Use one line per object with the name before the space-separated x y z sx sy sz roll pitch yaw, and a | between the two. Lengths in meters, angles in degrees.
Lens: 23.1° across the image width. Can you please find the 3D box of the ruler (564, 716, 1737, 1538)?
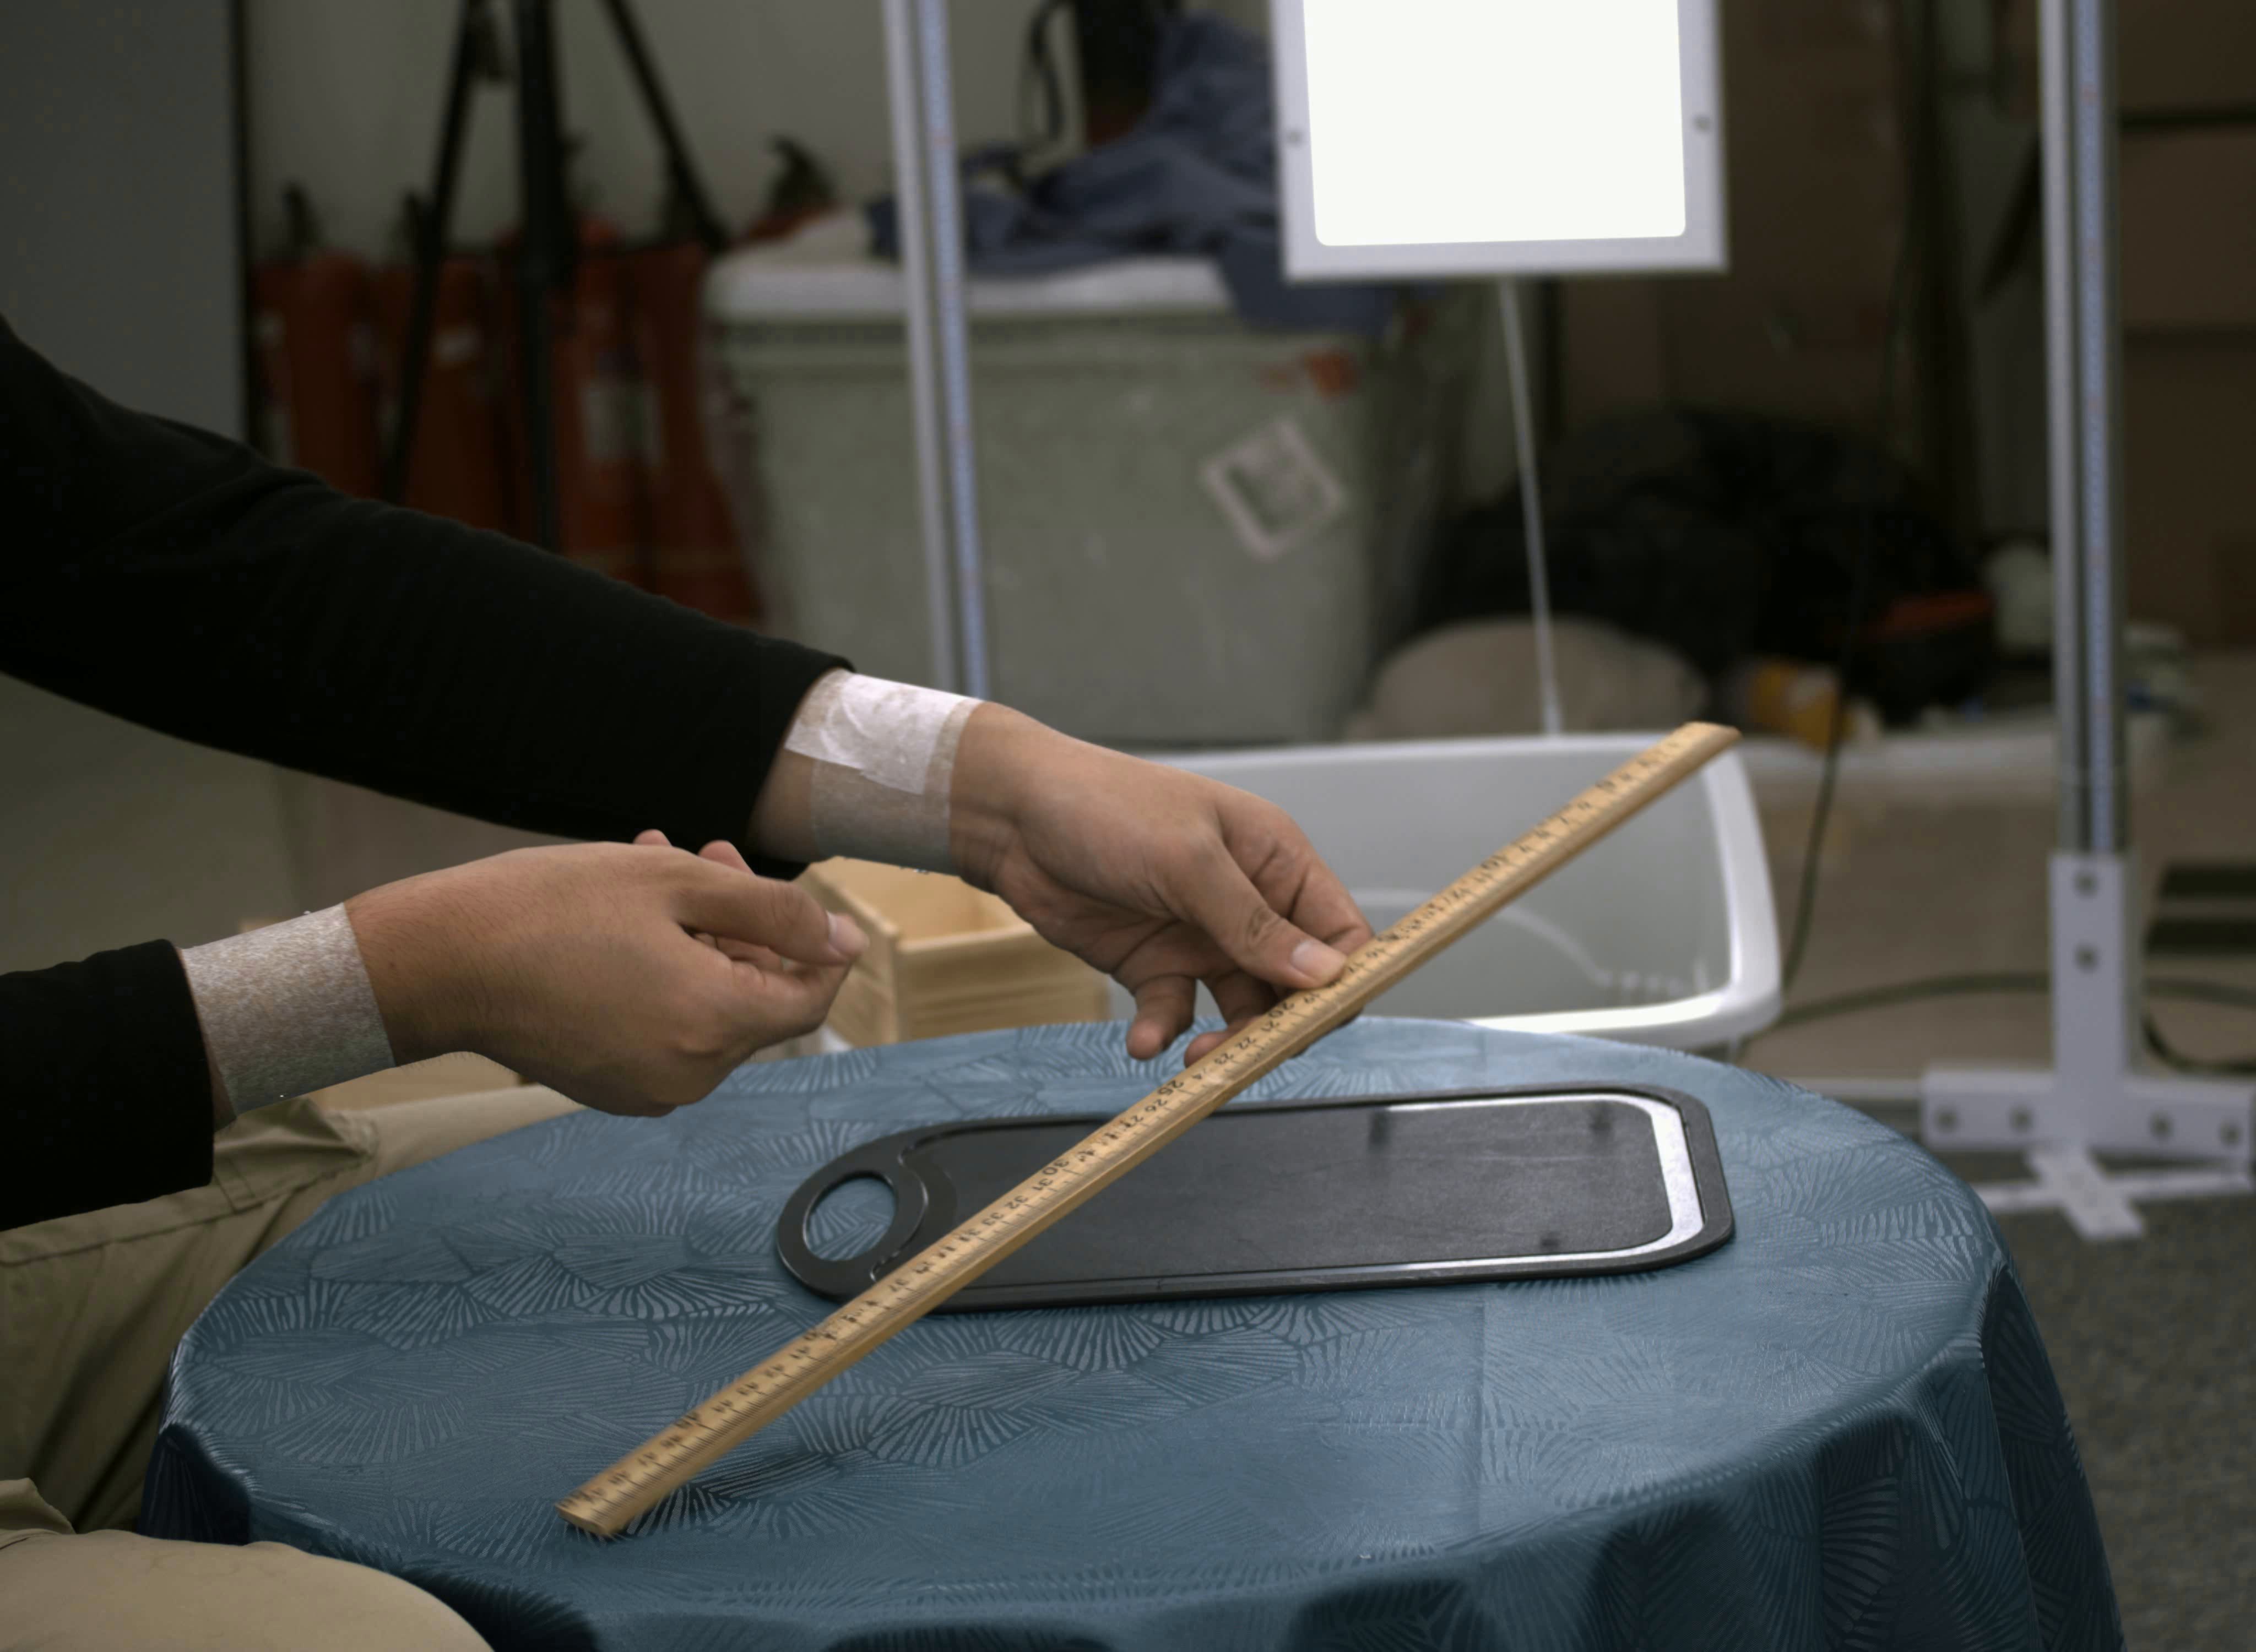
ruler | 0.019 0.085 1.738 0.490 0.006 0.027 -34 25 -28

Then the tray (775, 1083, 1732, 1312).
tray | 0.041 0.124 1.878 0.326 0.010 0.210 -4 14 6
